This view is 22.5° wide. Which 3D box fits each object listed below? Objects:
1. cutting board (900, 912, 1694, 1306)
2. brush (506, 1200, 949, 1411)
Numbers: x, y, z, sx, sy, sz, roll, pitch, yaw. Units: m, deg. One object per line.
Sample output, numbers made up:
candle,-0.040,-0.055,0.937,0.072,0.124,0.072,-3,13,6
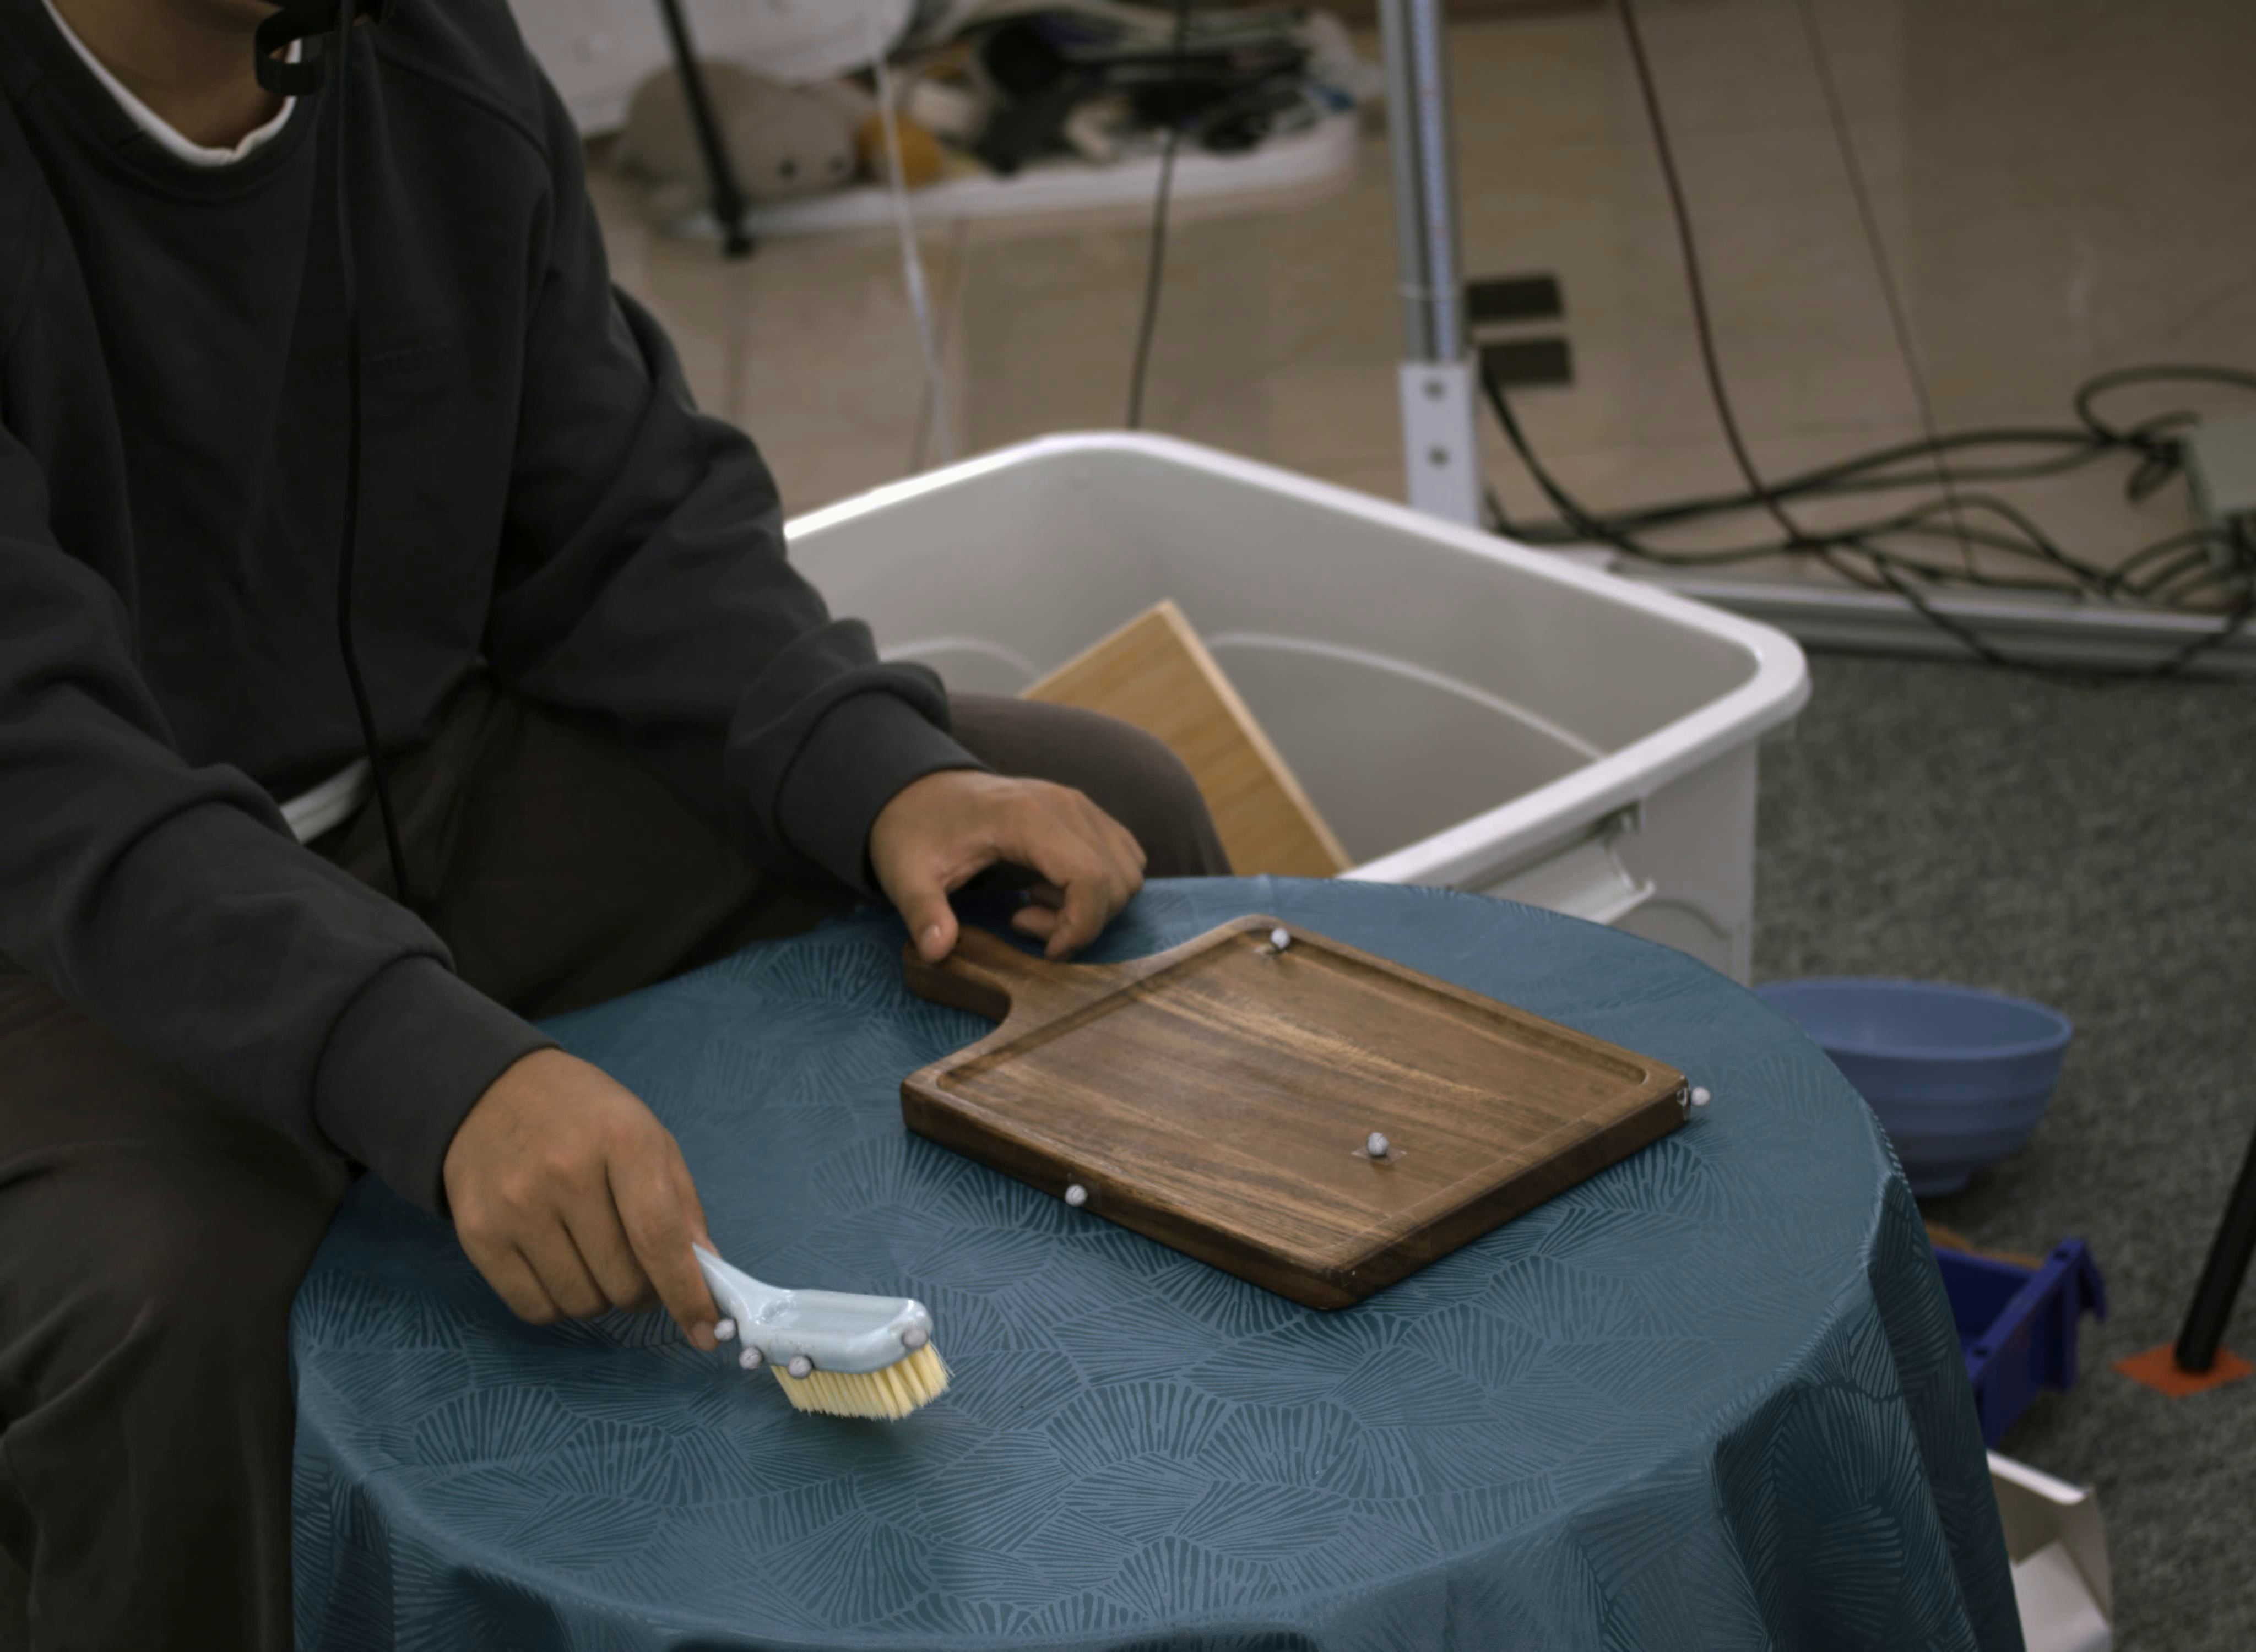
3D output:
cutting board,0.031,0.092,2.218,0.199,0.023,0.349,-25,30,-35
brush,-0.149,0.174,2.057,0.227,0.050,0.037,12,37,43
